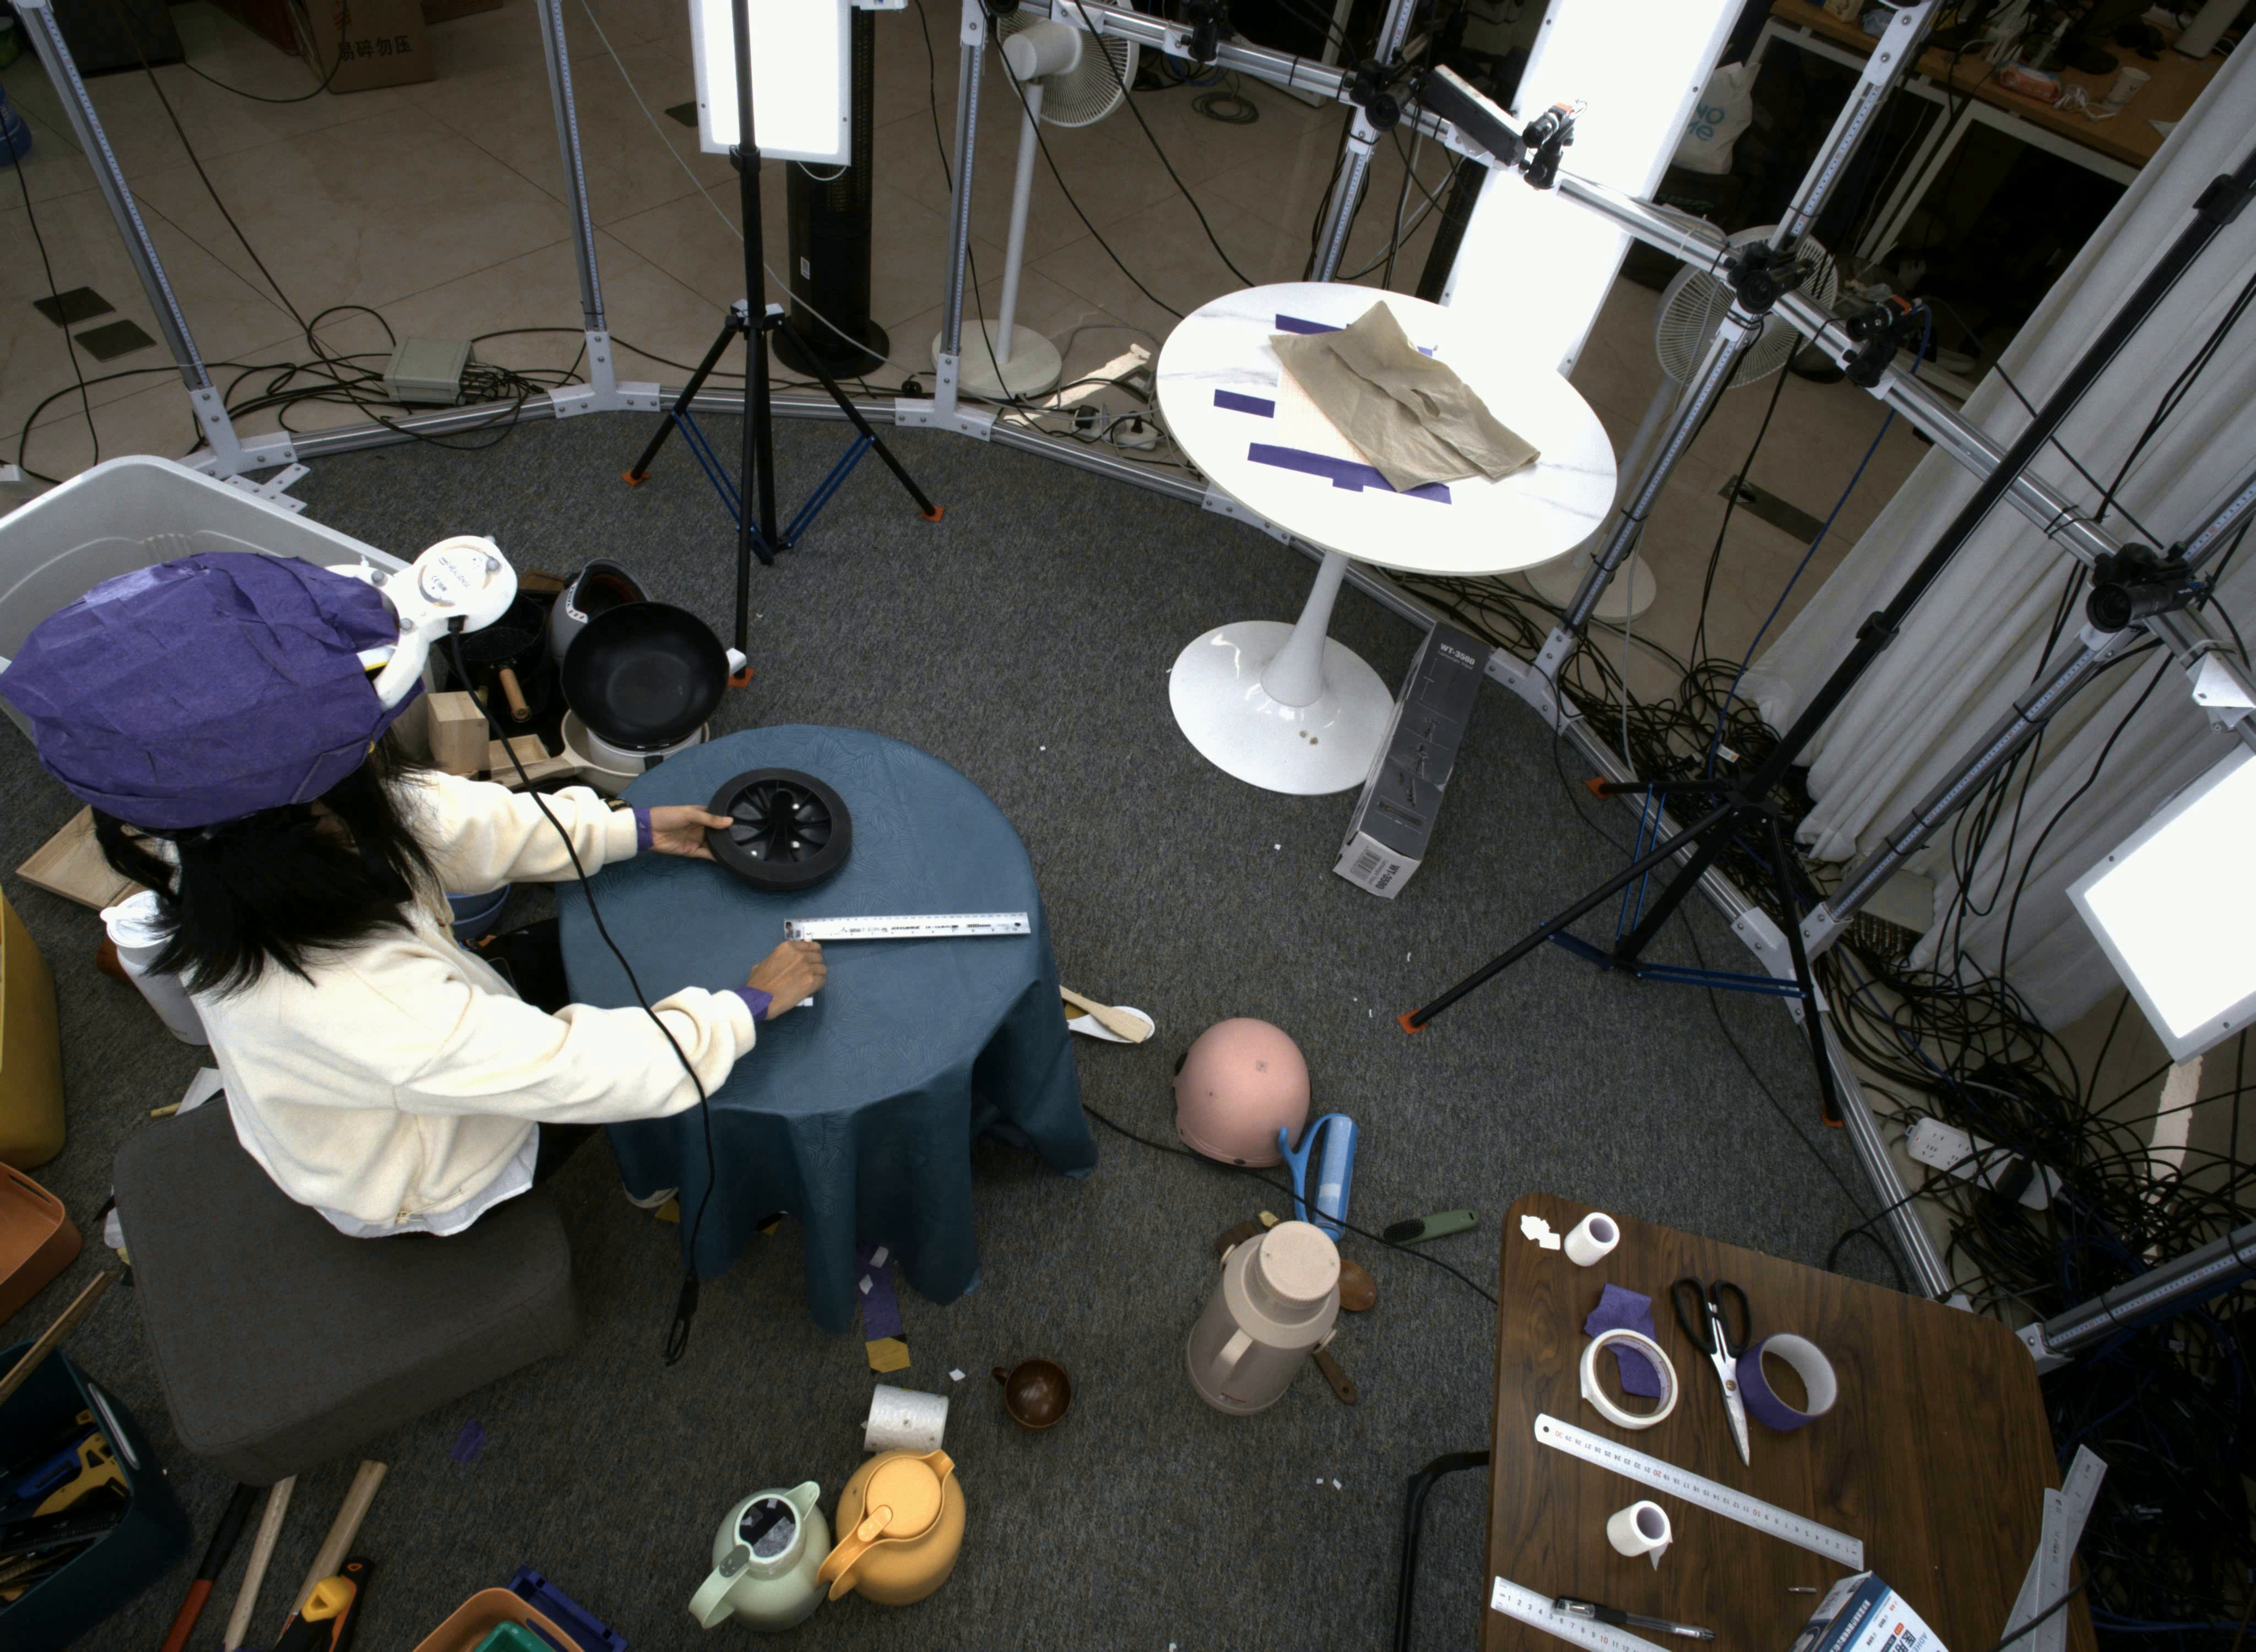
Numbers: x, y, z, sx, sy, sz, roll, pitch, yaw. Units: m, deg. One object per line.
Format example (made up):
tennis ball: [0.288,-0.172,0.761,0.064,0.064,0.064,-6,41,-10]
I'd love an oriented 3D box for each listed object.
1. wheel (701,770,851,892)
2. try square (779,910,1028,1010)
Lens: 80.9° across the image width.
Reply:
wheel: [-0.450,-0.011,1.664,0.187,0.080,0.187,38,49,8]
try square: [-0.273,0.159,1.616,0.314,0.016,0.148,-1,41,-16]
